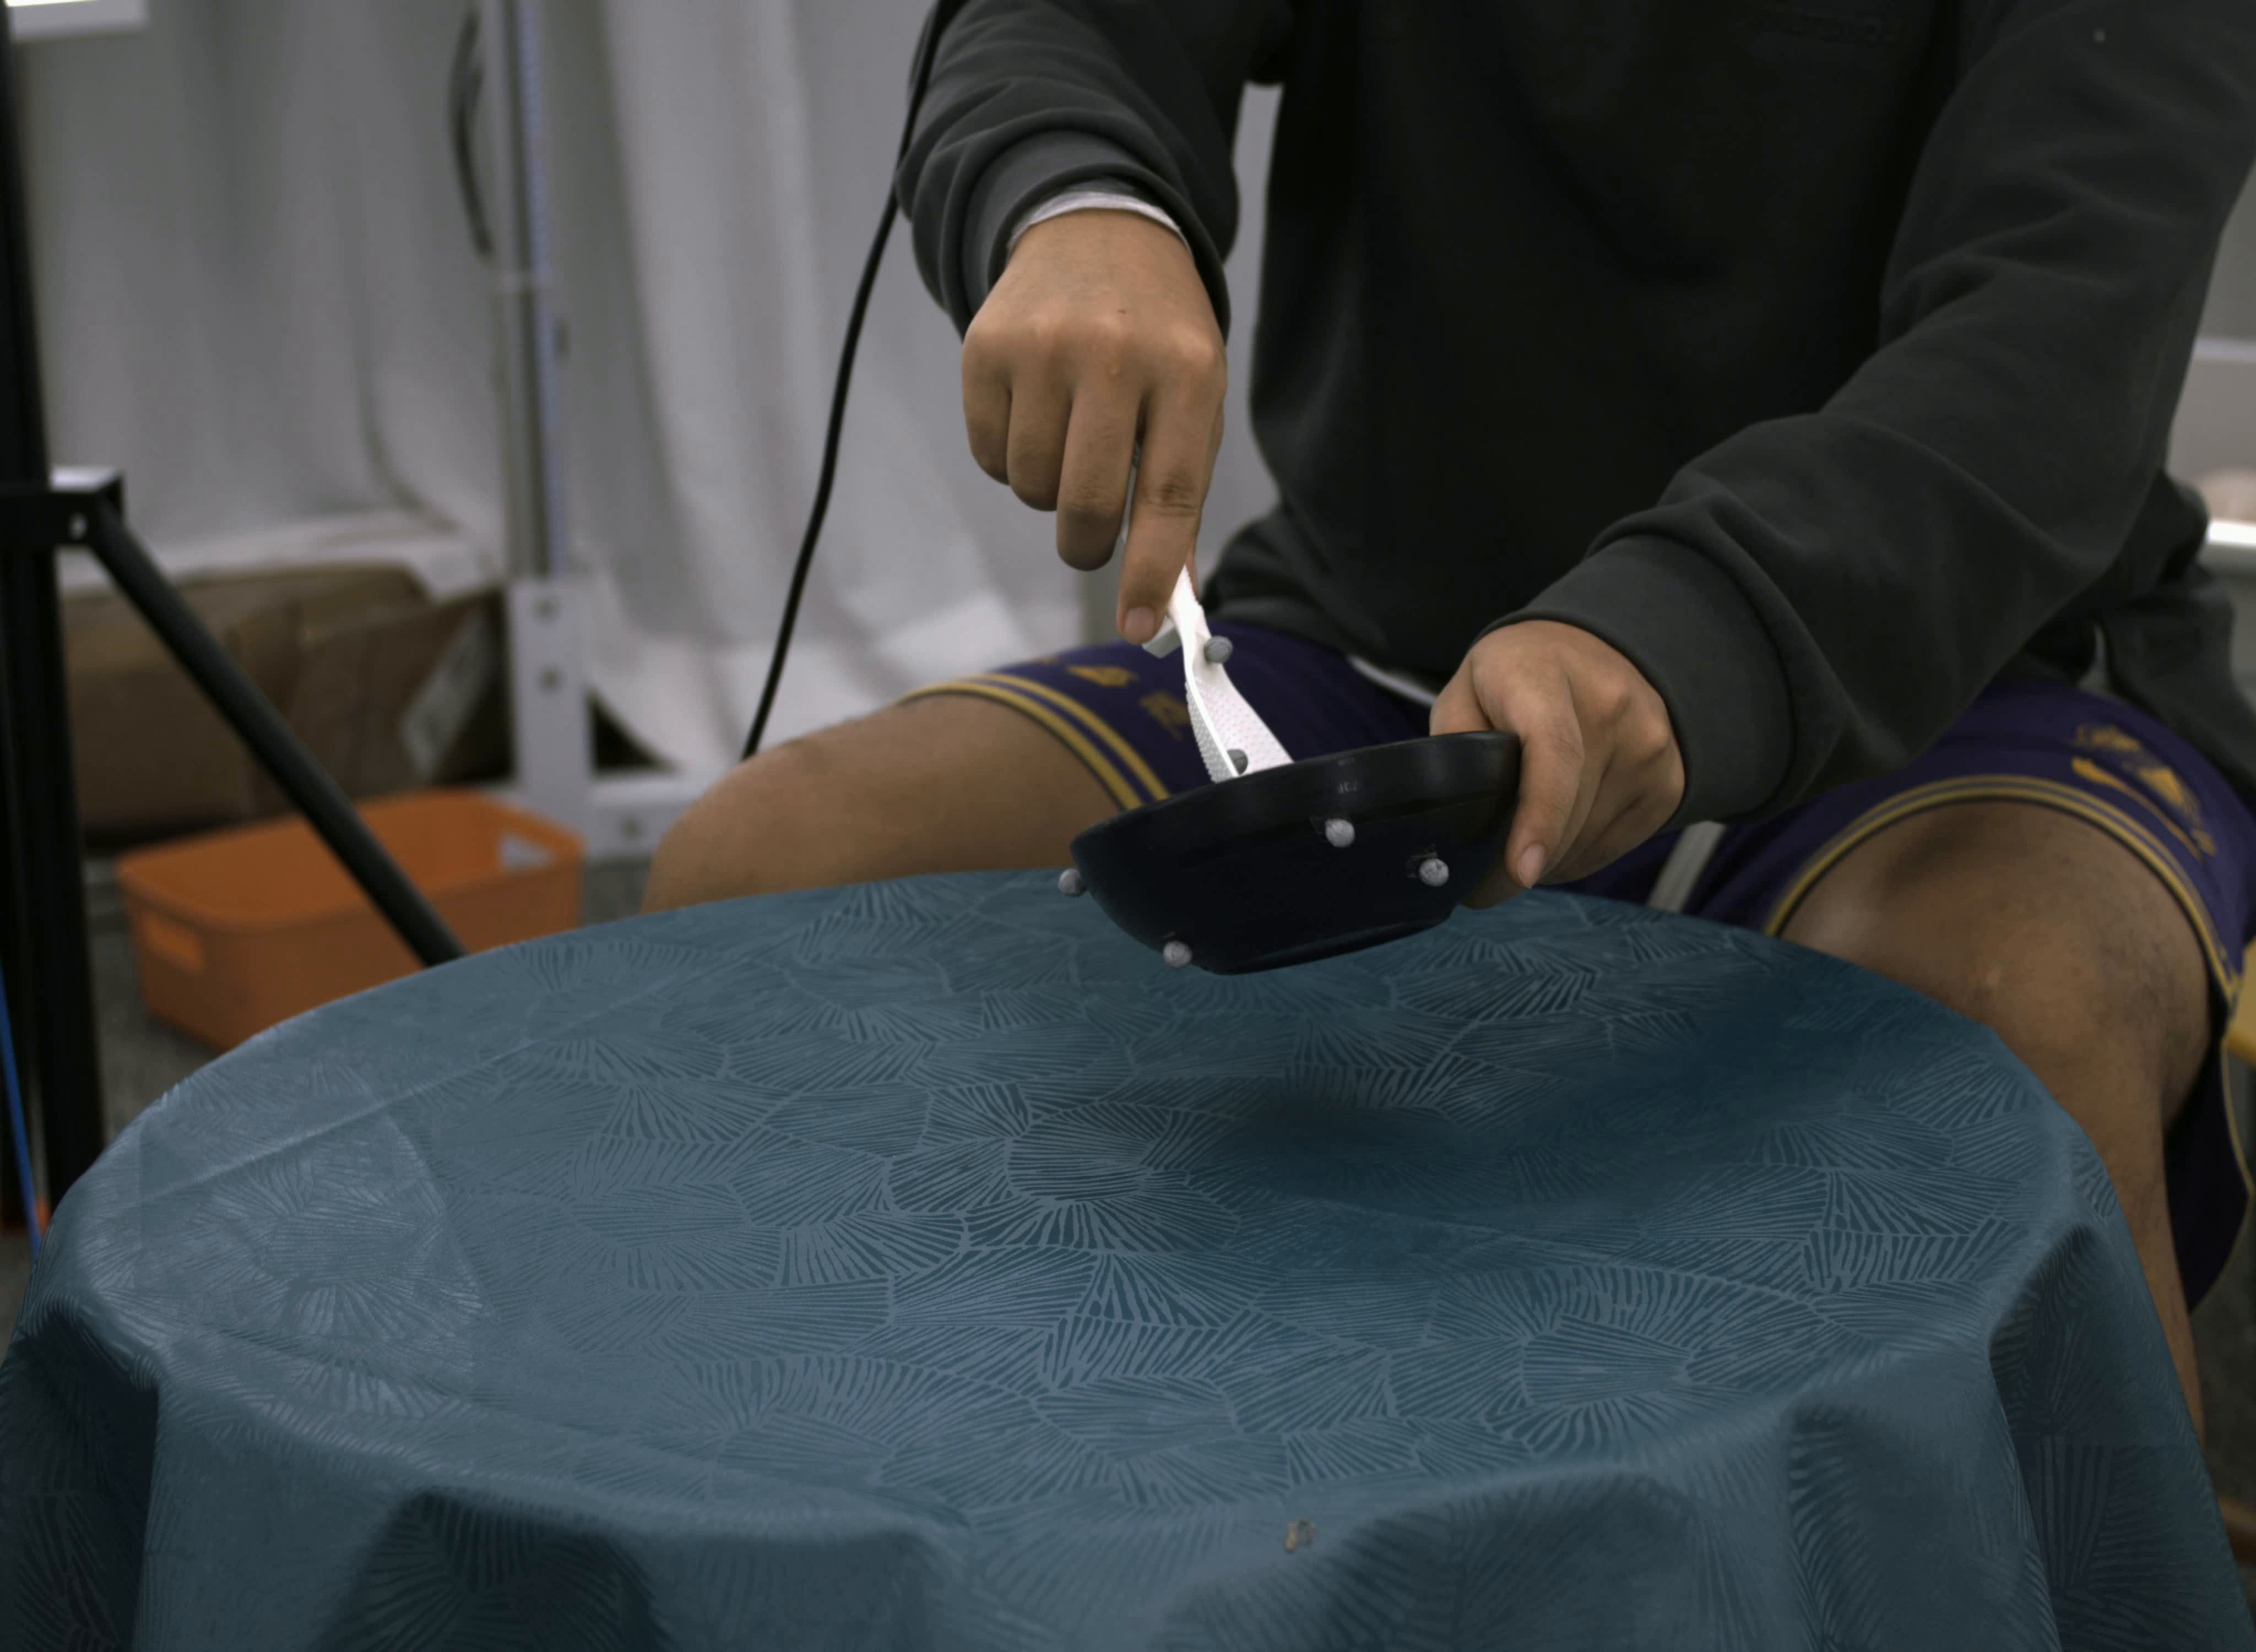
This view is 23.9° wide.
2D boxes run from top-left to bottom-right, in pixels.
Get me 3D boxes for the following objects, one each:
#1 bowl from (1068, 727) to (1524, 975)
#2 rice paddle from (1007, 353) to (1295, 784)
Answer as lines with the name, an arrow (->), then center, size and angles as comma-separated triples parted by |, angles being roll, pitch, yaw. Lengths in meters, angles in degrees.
bowl -> 0.055, 0.012, 1.577 | 0.139, 0.050, 0.140 | -12, -7, -3
rice paddle -> 0.020, -0.057, 1.619 | 0.029, 0.209, 0.067 | -36, -28, 15
